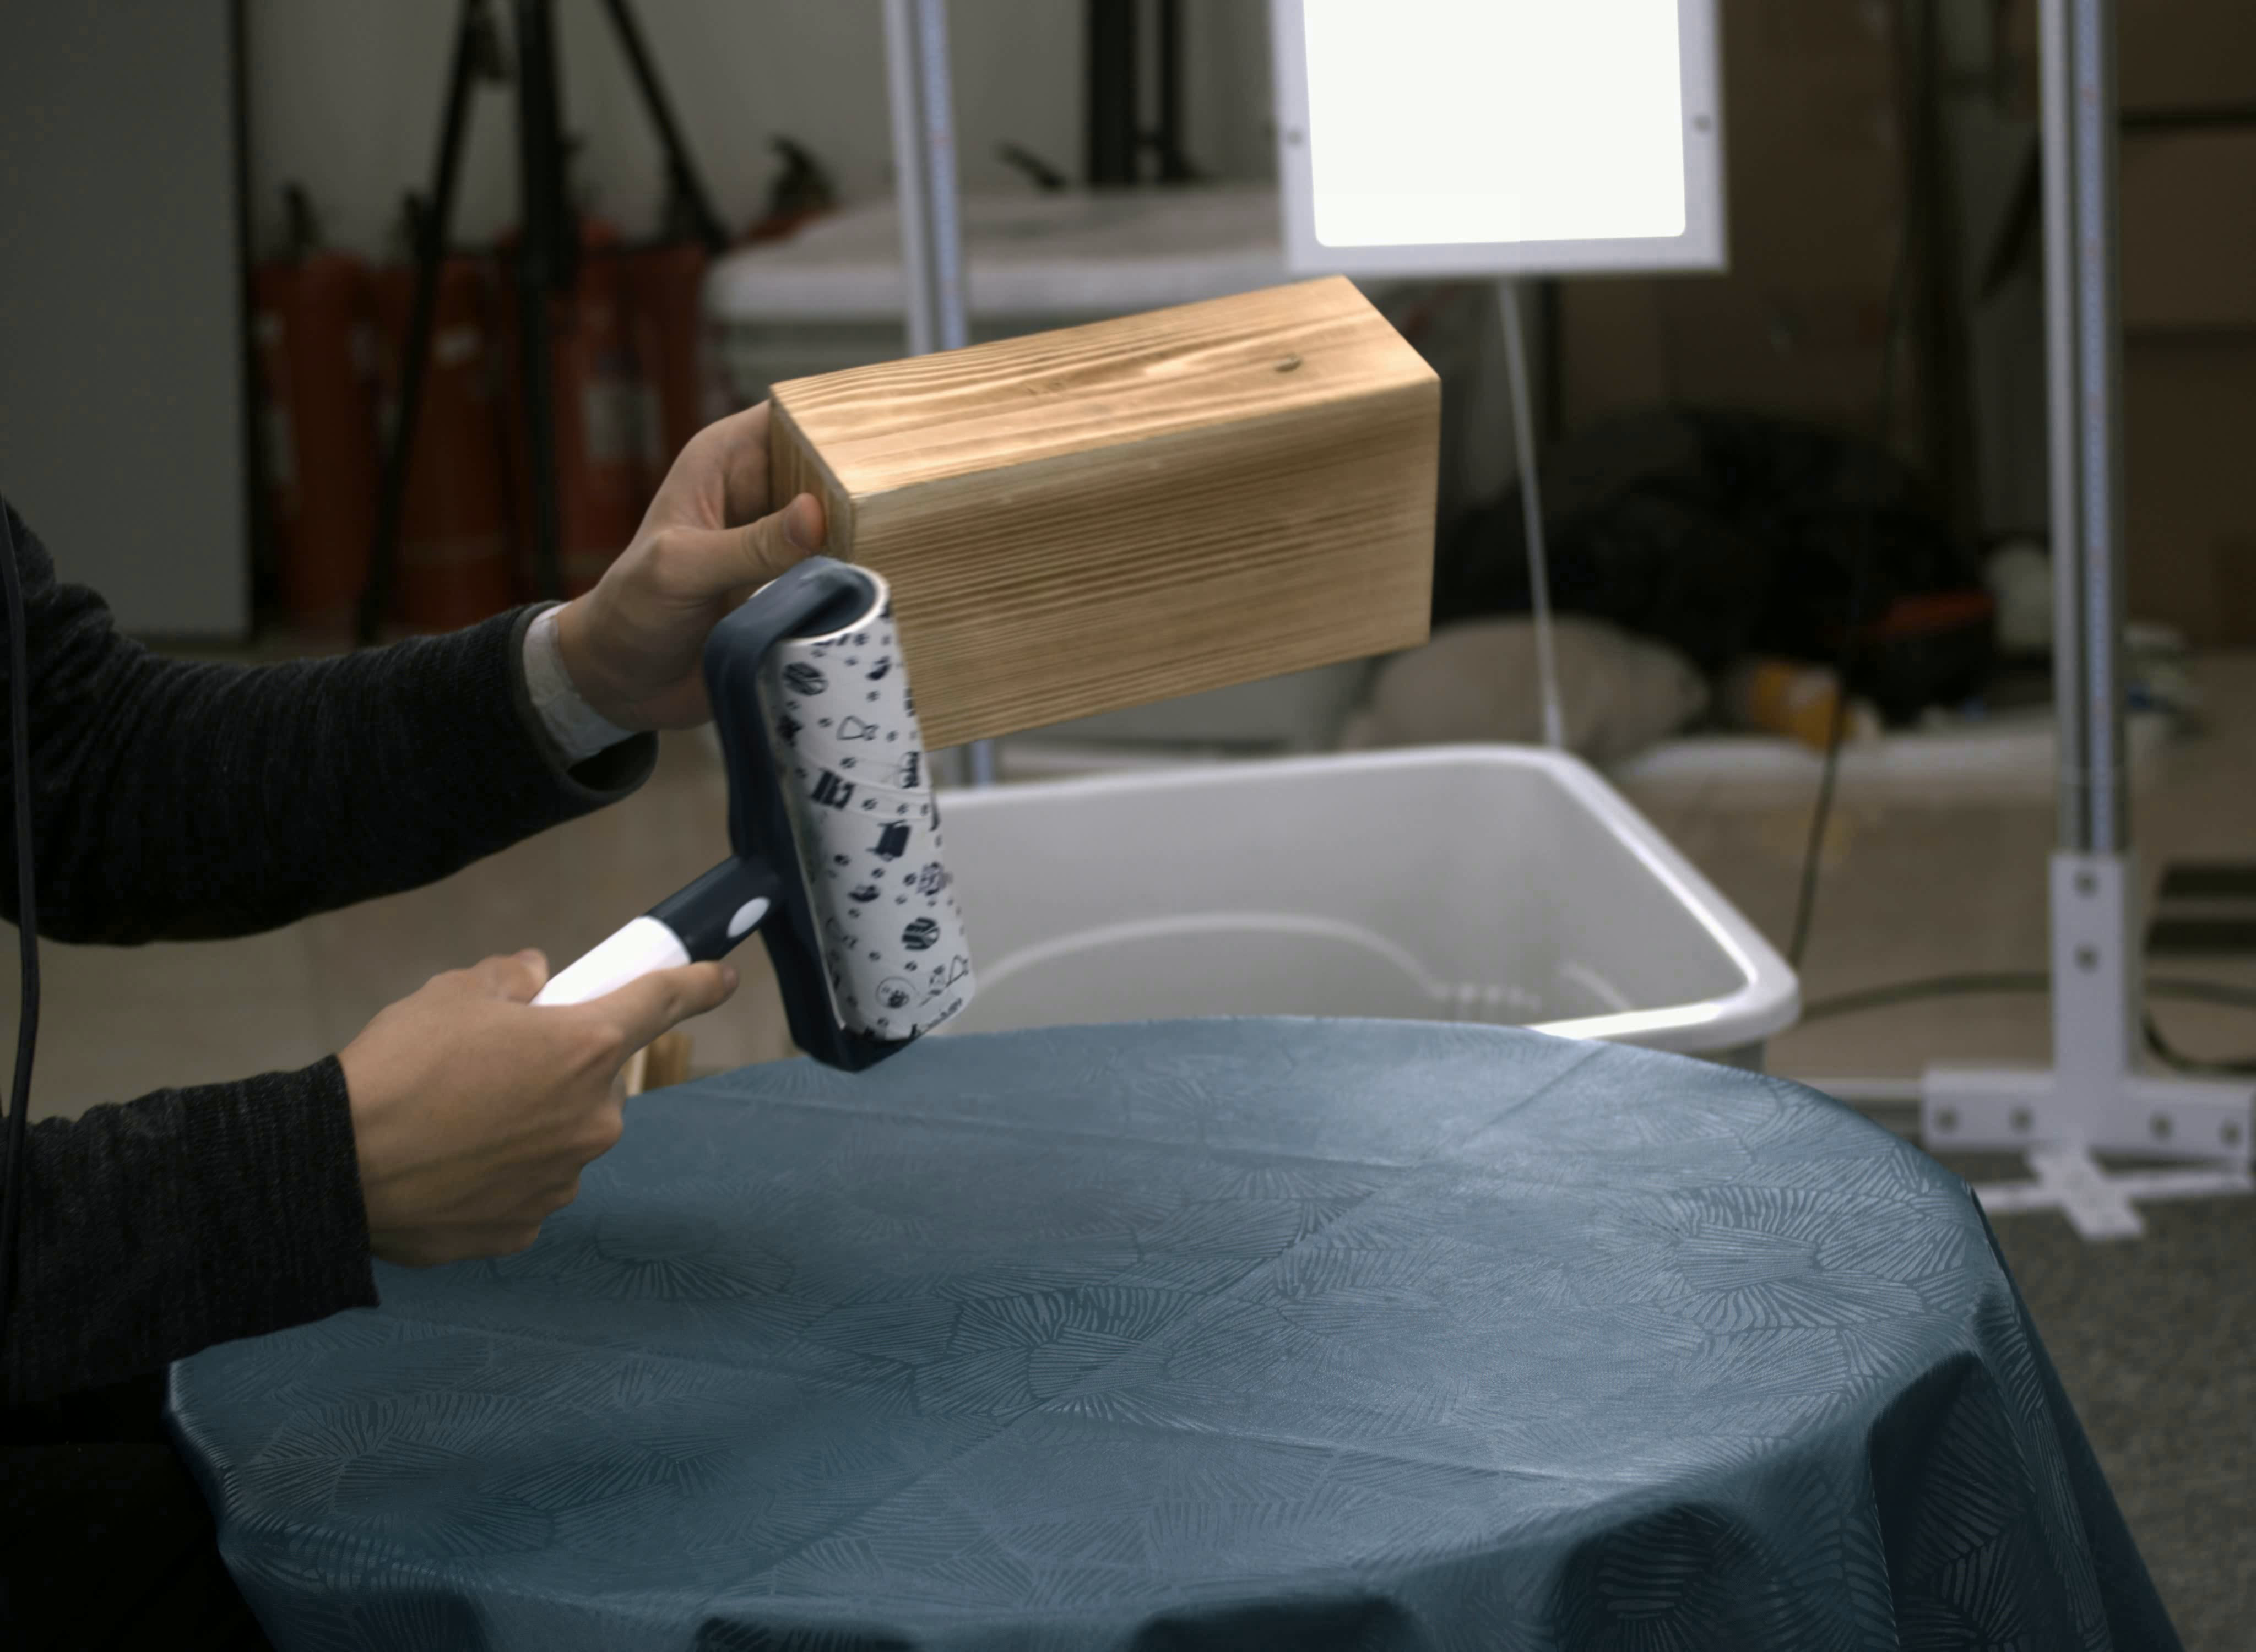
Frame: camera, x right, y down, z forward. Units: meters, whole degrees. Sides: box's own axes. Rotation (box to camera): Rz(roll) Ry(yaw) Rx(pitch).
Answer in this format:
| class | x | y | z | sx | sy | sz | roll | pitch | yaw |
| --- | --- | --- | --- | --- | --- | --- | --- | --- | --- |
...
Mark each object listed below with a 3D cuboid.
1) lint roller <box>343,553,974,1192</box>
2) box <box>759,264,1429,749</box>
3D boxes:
| class | x | y | z | sx | sy | sz | roll | pitch | yaw |
| --- | --- | --- | --- | --- | --- | --- | --- | --- | --- |
| lint roller | -0.148 | 0.045 | 1.747 | 0.051 | 0.176 | 0.242 | 22 | 48 | 36 |
| box | -0.010 | -0.106 | 1.850 | 0.208 | 0.108 | 0.081 | -13 | 35 | -17 |
